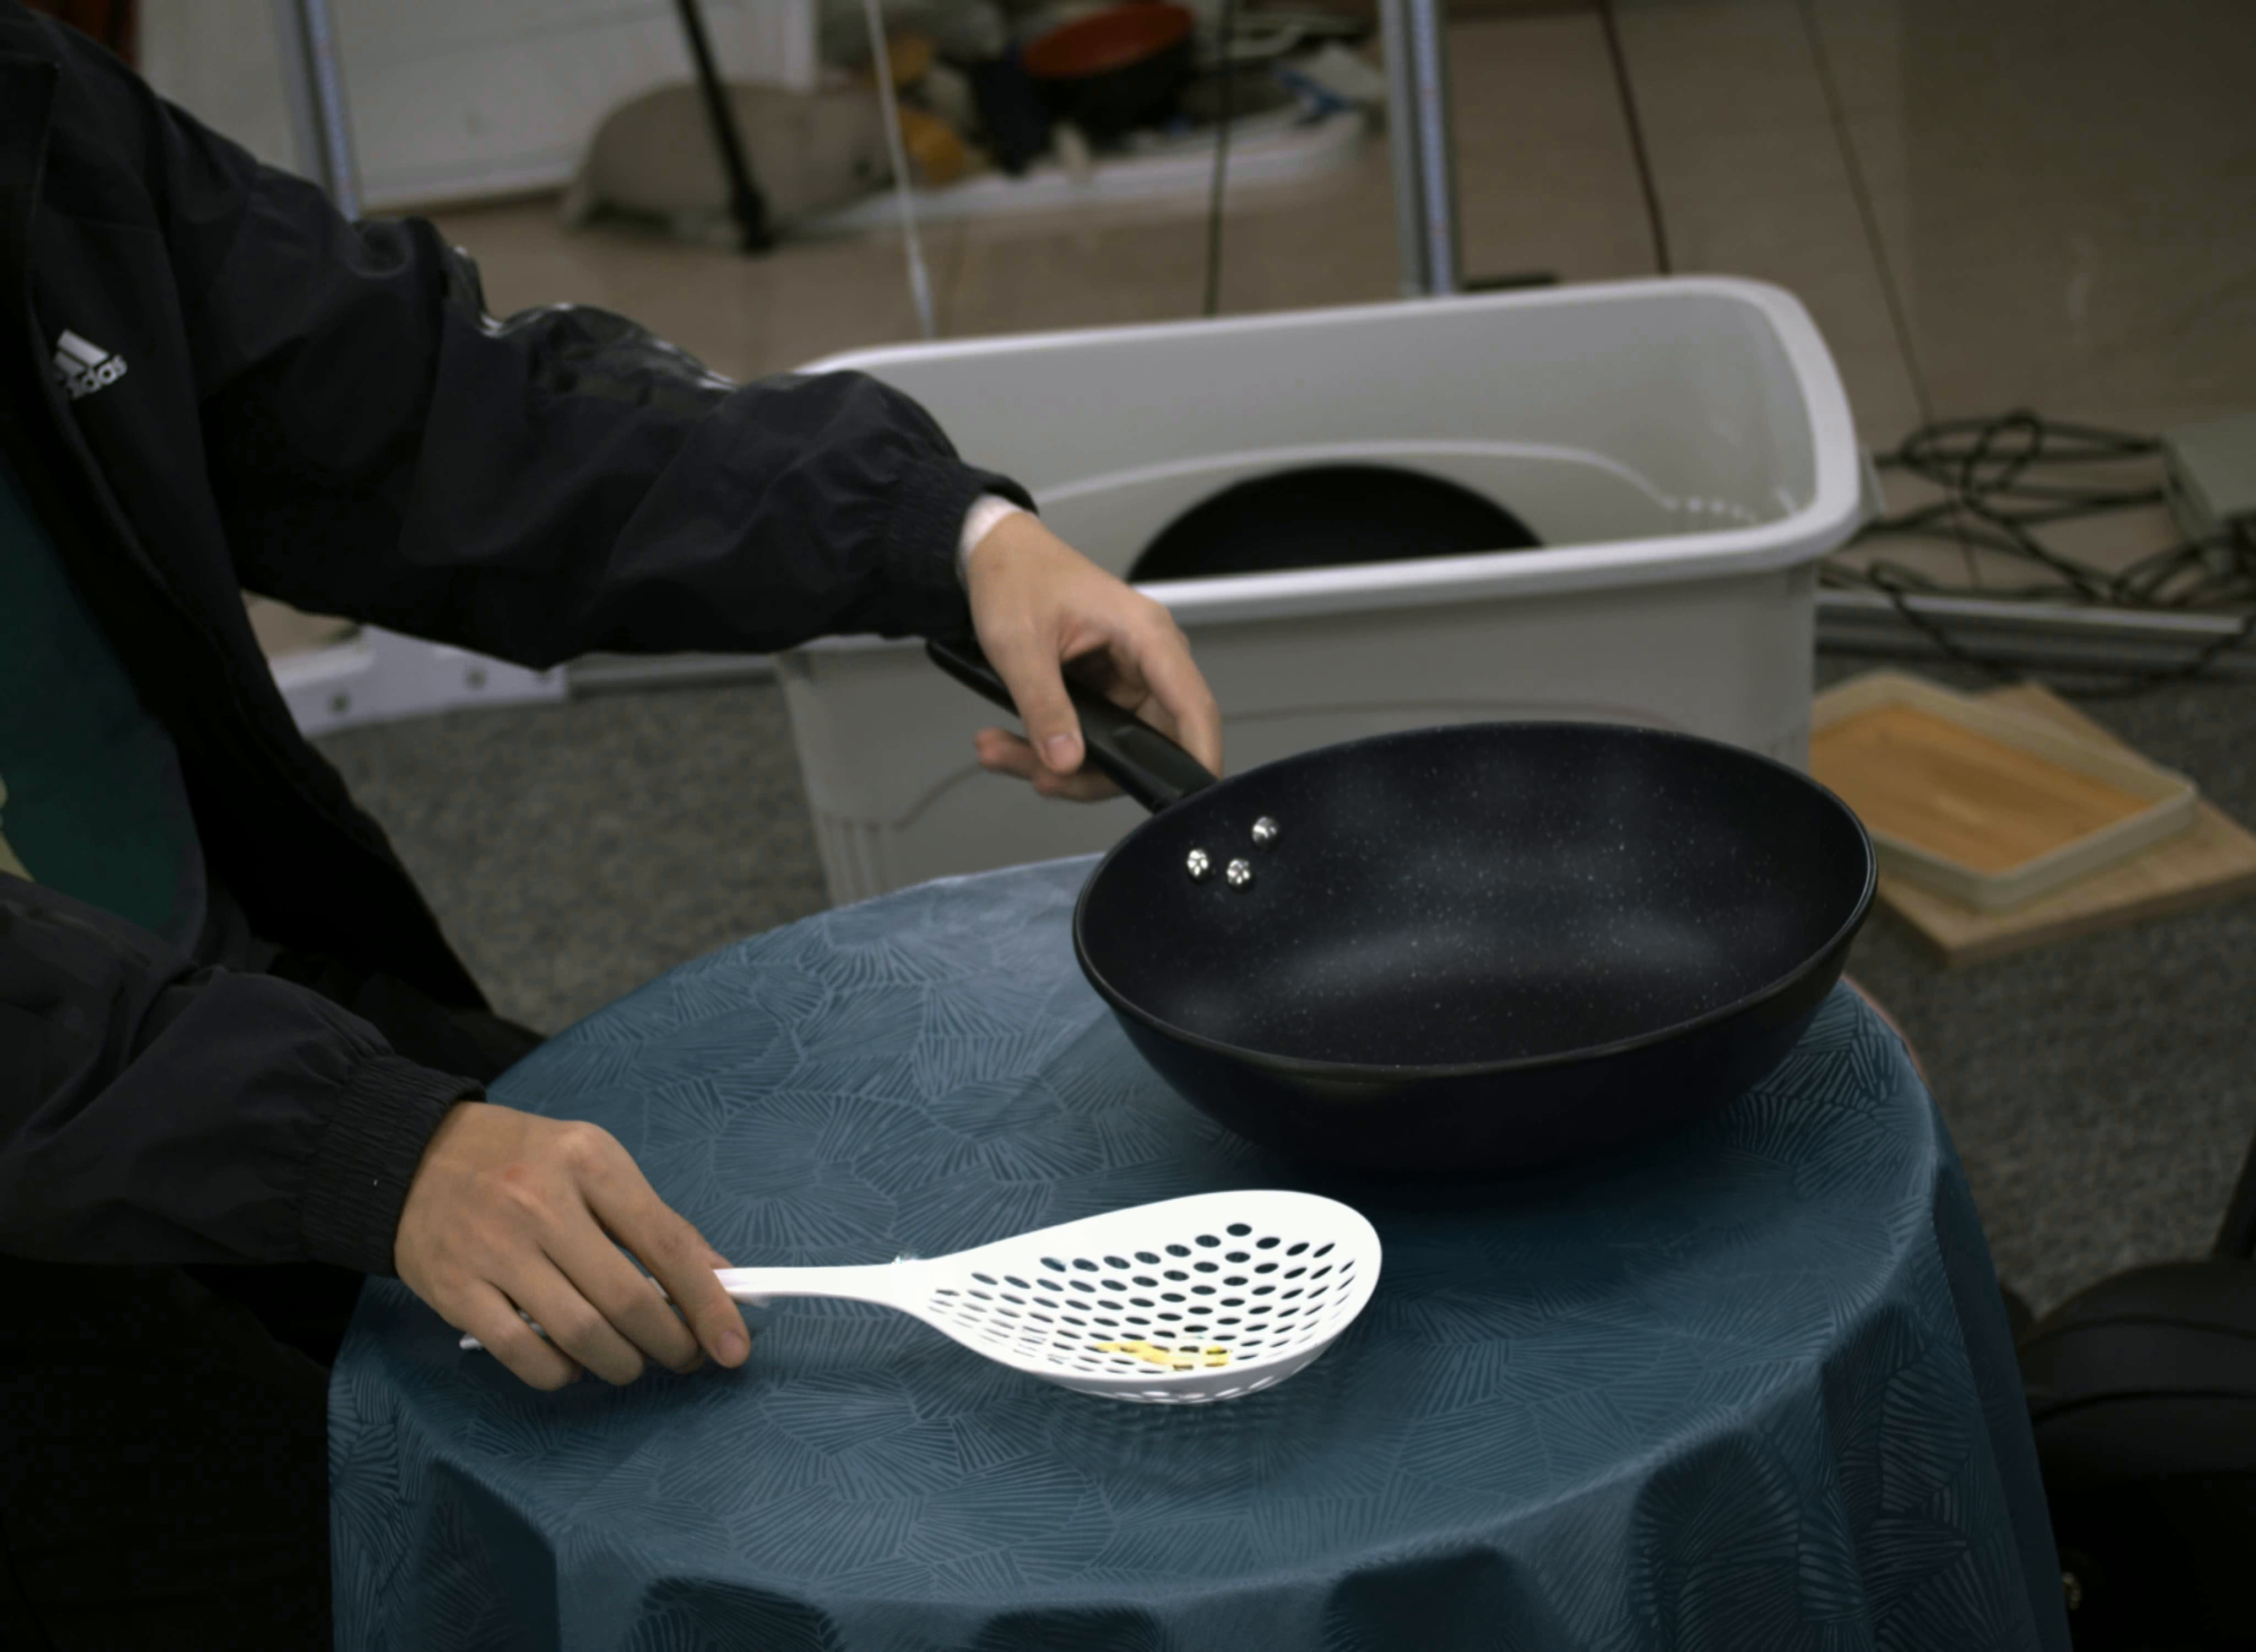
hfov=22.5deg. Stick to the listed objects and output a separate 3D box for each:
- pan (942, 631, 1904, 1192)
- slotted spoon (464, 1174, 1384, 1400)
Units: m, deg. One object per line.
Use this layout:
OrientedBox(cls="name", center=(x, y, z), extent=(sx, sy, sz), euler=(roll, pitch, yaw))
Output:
OrientedBox(cls="pan", center=(0.087, 0.031, 2.231), extent=(0.308, 0.113, 0.473), euler=(-24, 30, -35))
OrientedBox(cls="slotted spoon", center=(-0.077, 0.174, 2.041), extent=(0.347, 0.051, 0.135), euler=(1, 26, 16))
